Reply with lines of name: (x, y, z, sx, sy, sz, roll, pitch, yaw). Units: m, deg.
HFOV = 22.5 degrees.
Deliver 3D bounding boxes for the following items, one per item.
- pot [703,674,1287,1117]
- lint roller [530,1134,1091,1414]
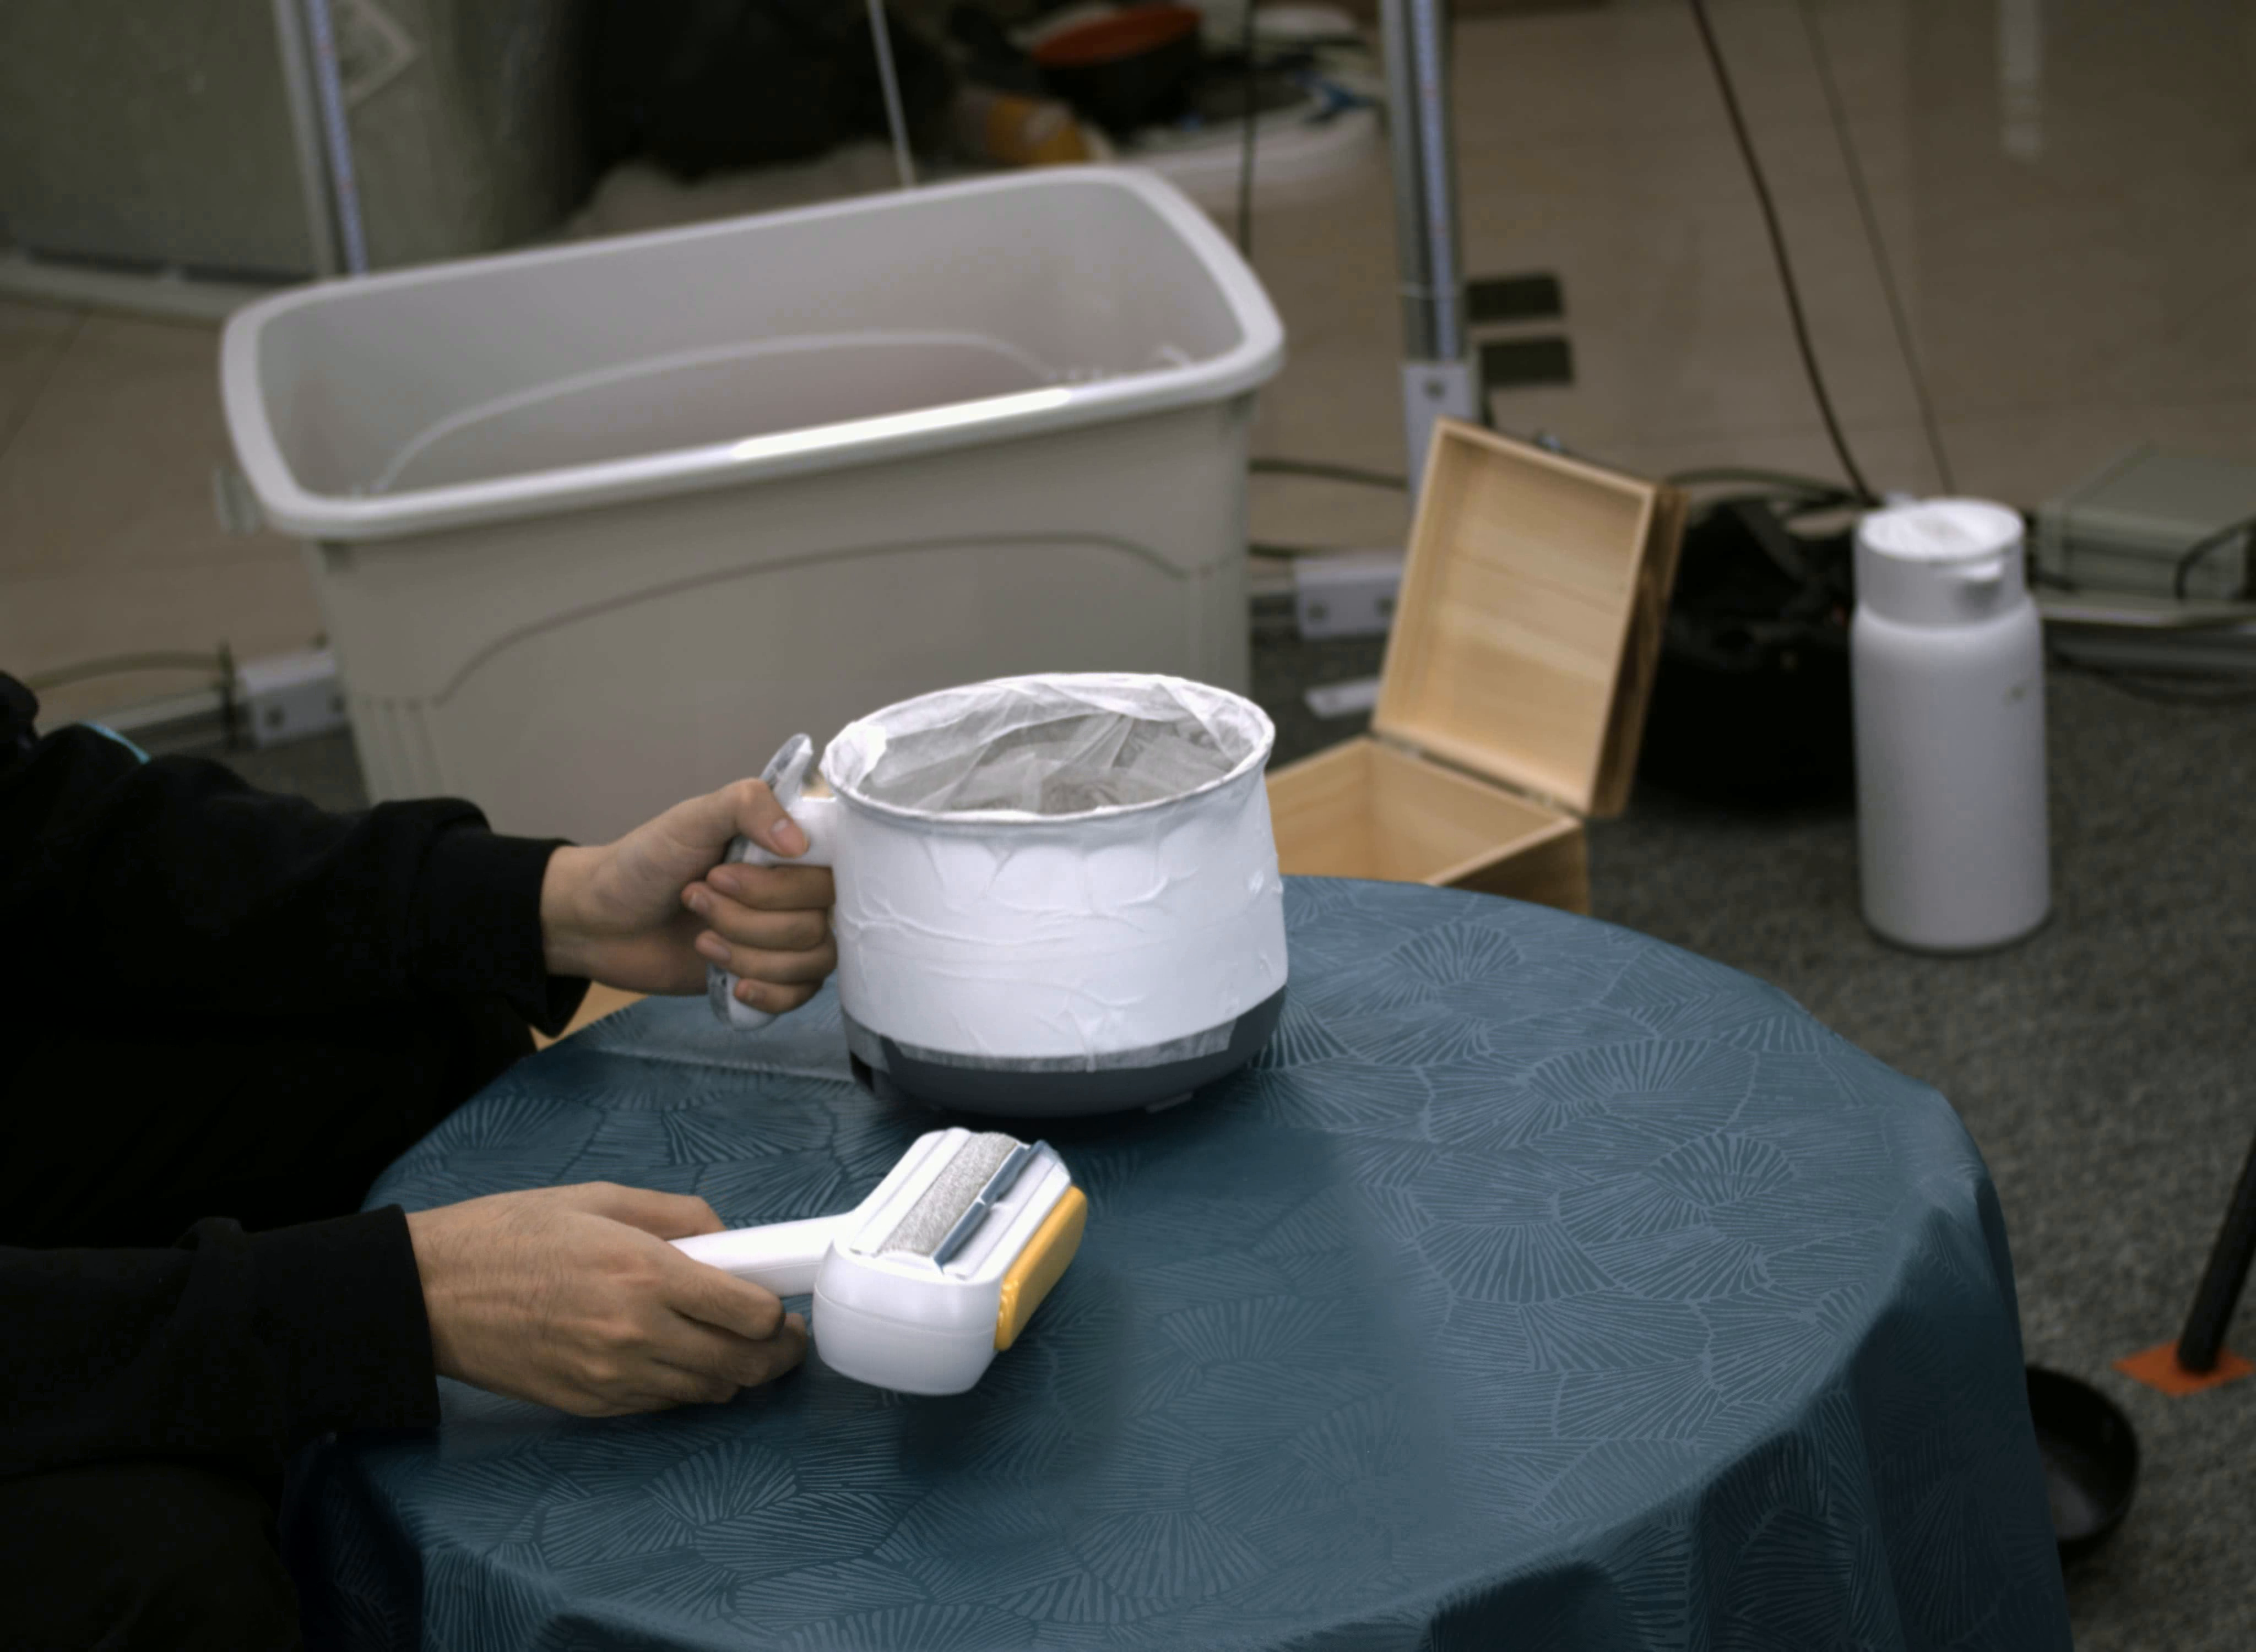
pot: (-0.054, 0.028, 2.216, 0.233, 0.138, 0.176, 0, 20, 10)
lint roller: (-0.122, 0.158, 2.029, 0.192, 0.075, 0.191, 5, 18, 13)
